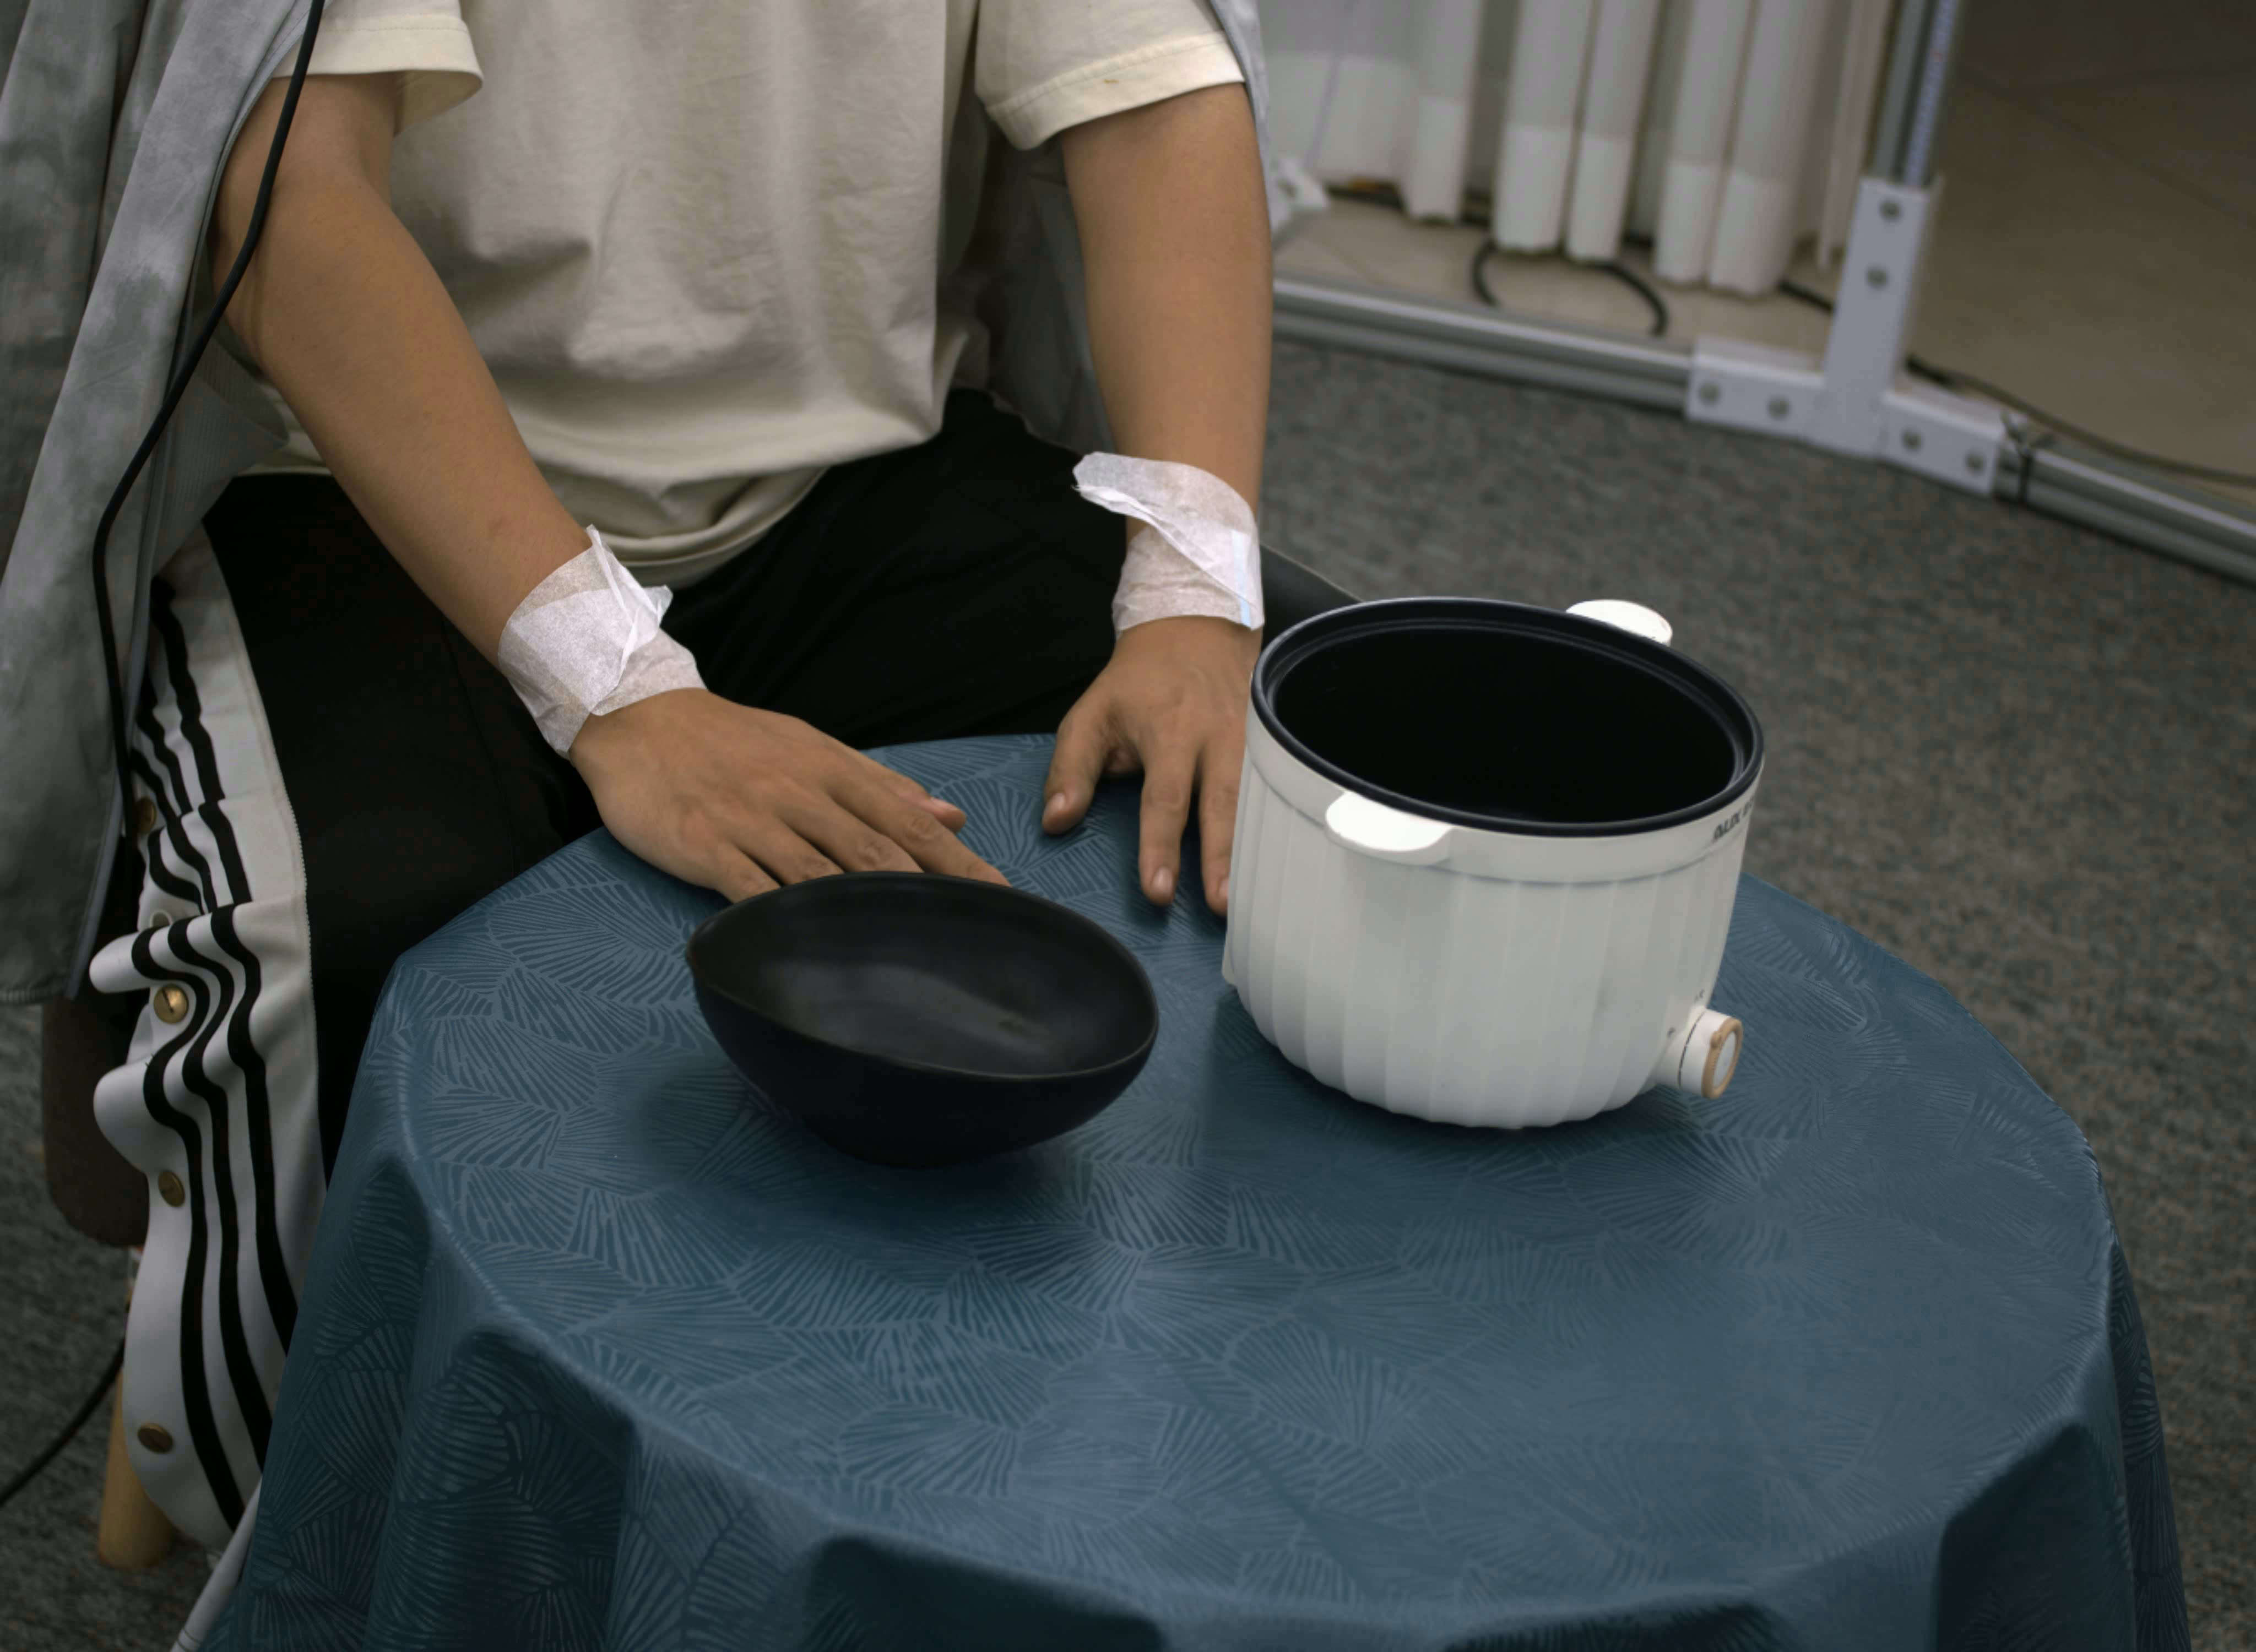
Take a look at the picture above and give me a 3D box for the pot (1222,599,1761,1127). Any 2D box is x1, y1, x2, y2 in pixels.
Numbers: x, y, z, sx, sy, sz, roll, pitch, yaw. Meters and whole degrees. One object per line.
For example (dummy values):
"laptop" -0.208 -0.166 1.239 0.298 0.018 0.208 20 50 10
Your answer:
"pot" 0.131 0.018 1.889 0.191 0.142 0.240 15 28 23

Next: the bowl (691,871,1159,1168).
"bowl" -0.073 0.074 1.815 0.171 0.066 0.137 17 28 22
